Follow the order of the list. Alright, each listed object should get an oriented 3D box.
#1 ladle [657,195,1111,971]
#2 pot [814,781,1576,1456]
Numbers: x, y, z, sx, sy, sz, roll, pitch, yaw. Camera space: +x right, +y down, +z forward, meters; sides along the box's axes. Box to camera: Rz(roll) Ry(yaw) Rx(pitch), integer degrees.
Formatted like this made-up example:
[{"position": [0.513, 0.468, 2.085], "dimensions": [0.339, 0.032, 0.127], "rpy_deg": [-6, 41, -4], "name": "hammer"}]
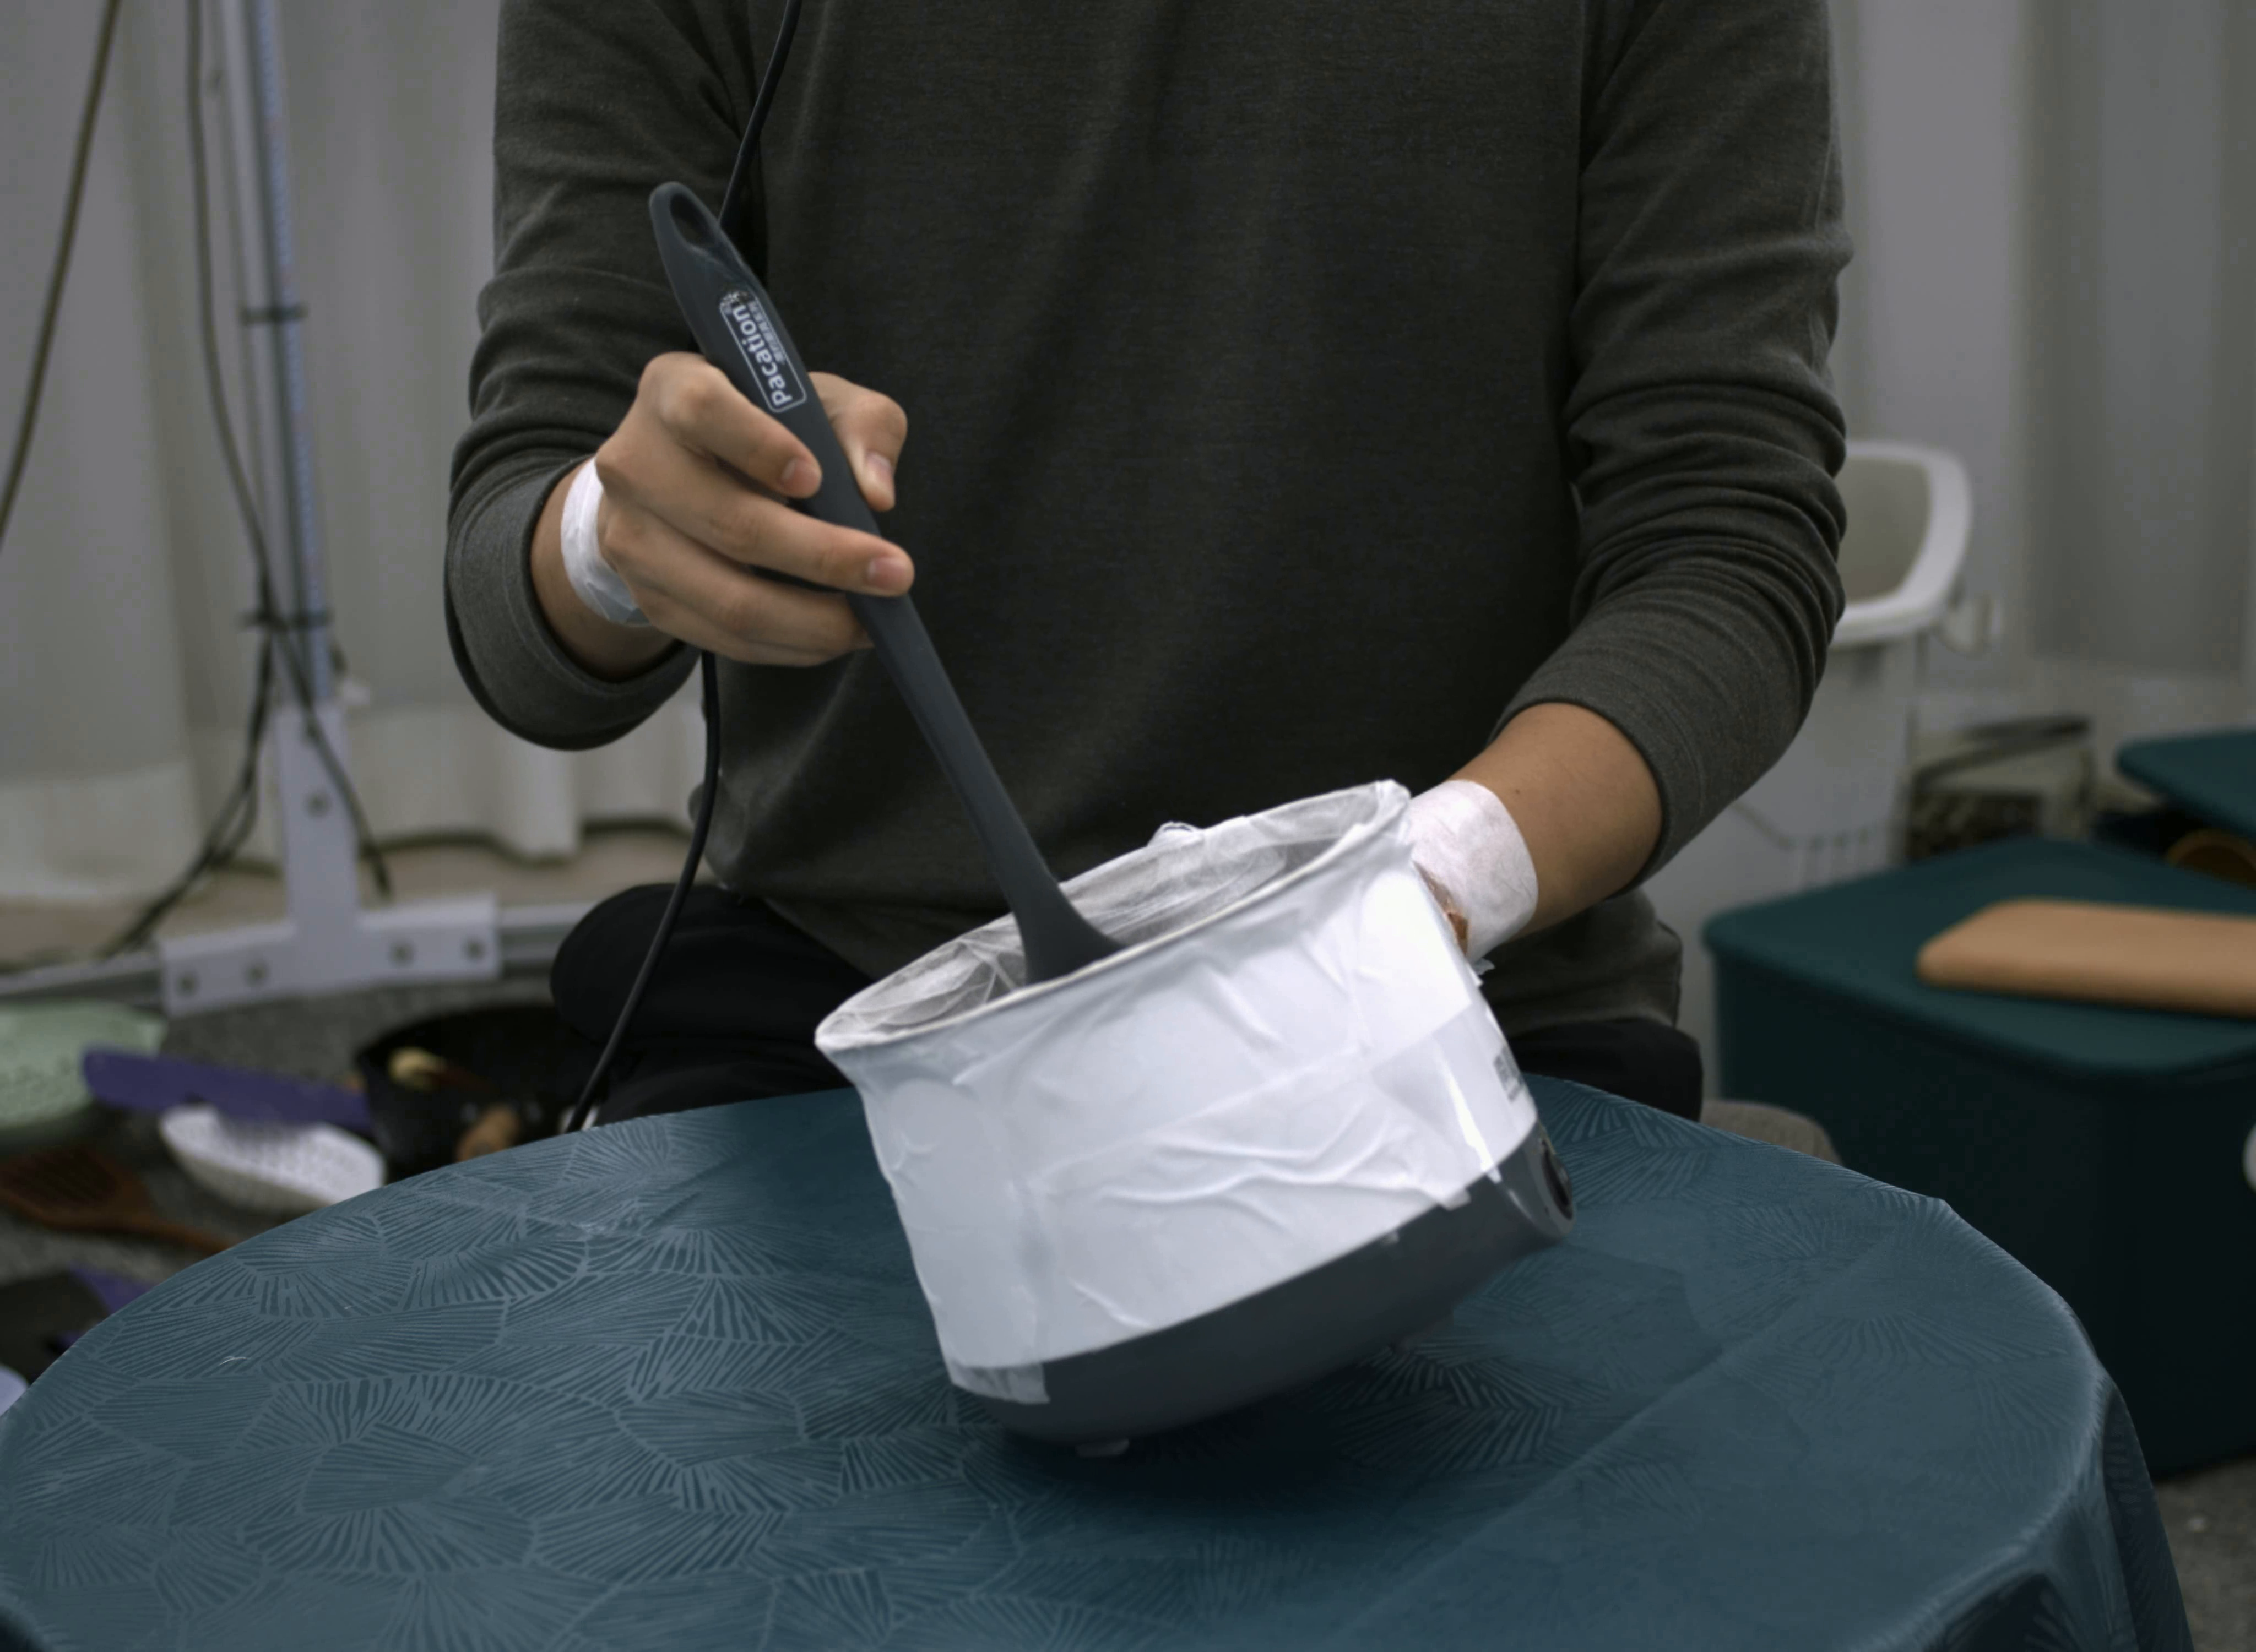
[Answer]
[{"position": [-0.051, -0.048, 1.544], "dimensions": [0.086, 0.315, 0.063], "rpy_deg": [-24, -7, -29], "name": "ladle"}, {"position": [0.024, 0.076, 1.533], "dimensions": [0.178, 0.136, 0.234], "rpy_deg": [-21, 7, 13], "name": "pot"}]
